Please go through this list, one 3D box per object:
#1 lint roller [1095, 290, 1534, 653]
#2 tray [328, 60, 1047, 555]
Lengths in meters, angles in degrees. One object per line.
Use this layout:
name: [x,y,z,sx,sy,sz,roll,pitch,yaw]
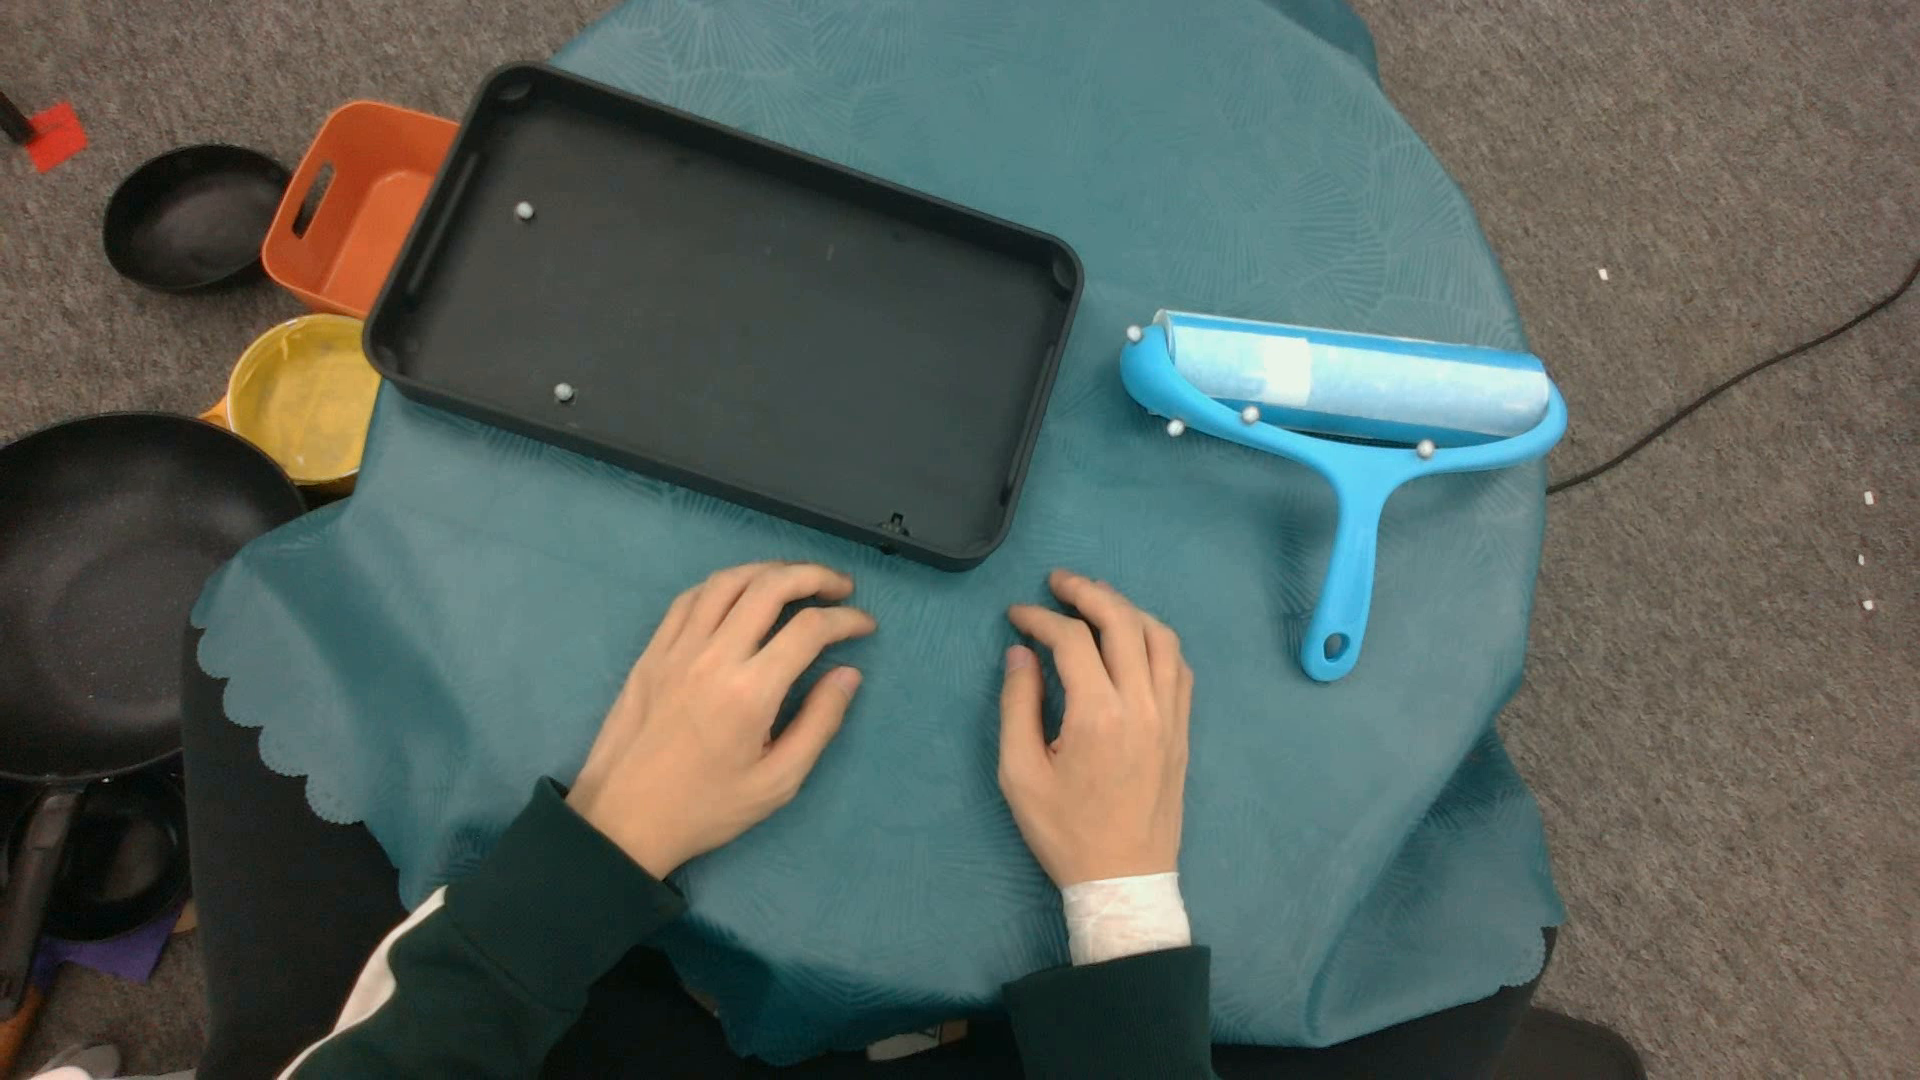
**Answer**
lint roller: [0.183,-0.038,0.692,0.229,0.067,0.181,2,72,-9]
tray: [-0.127,-0.115,0.688,0.318,0.037,0.185,15,73,-4]
